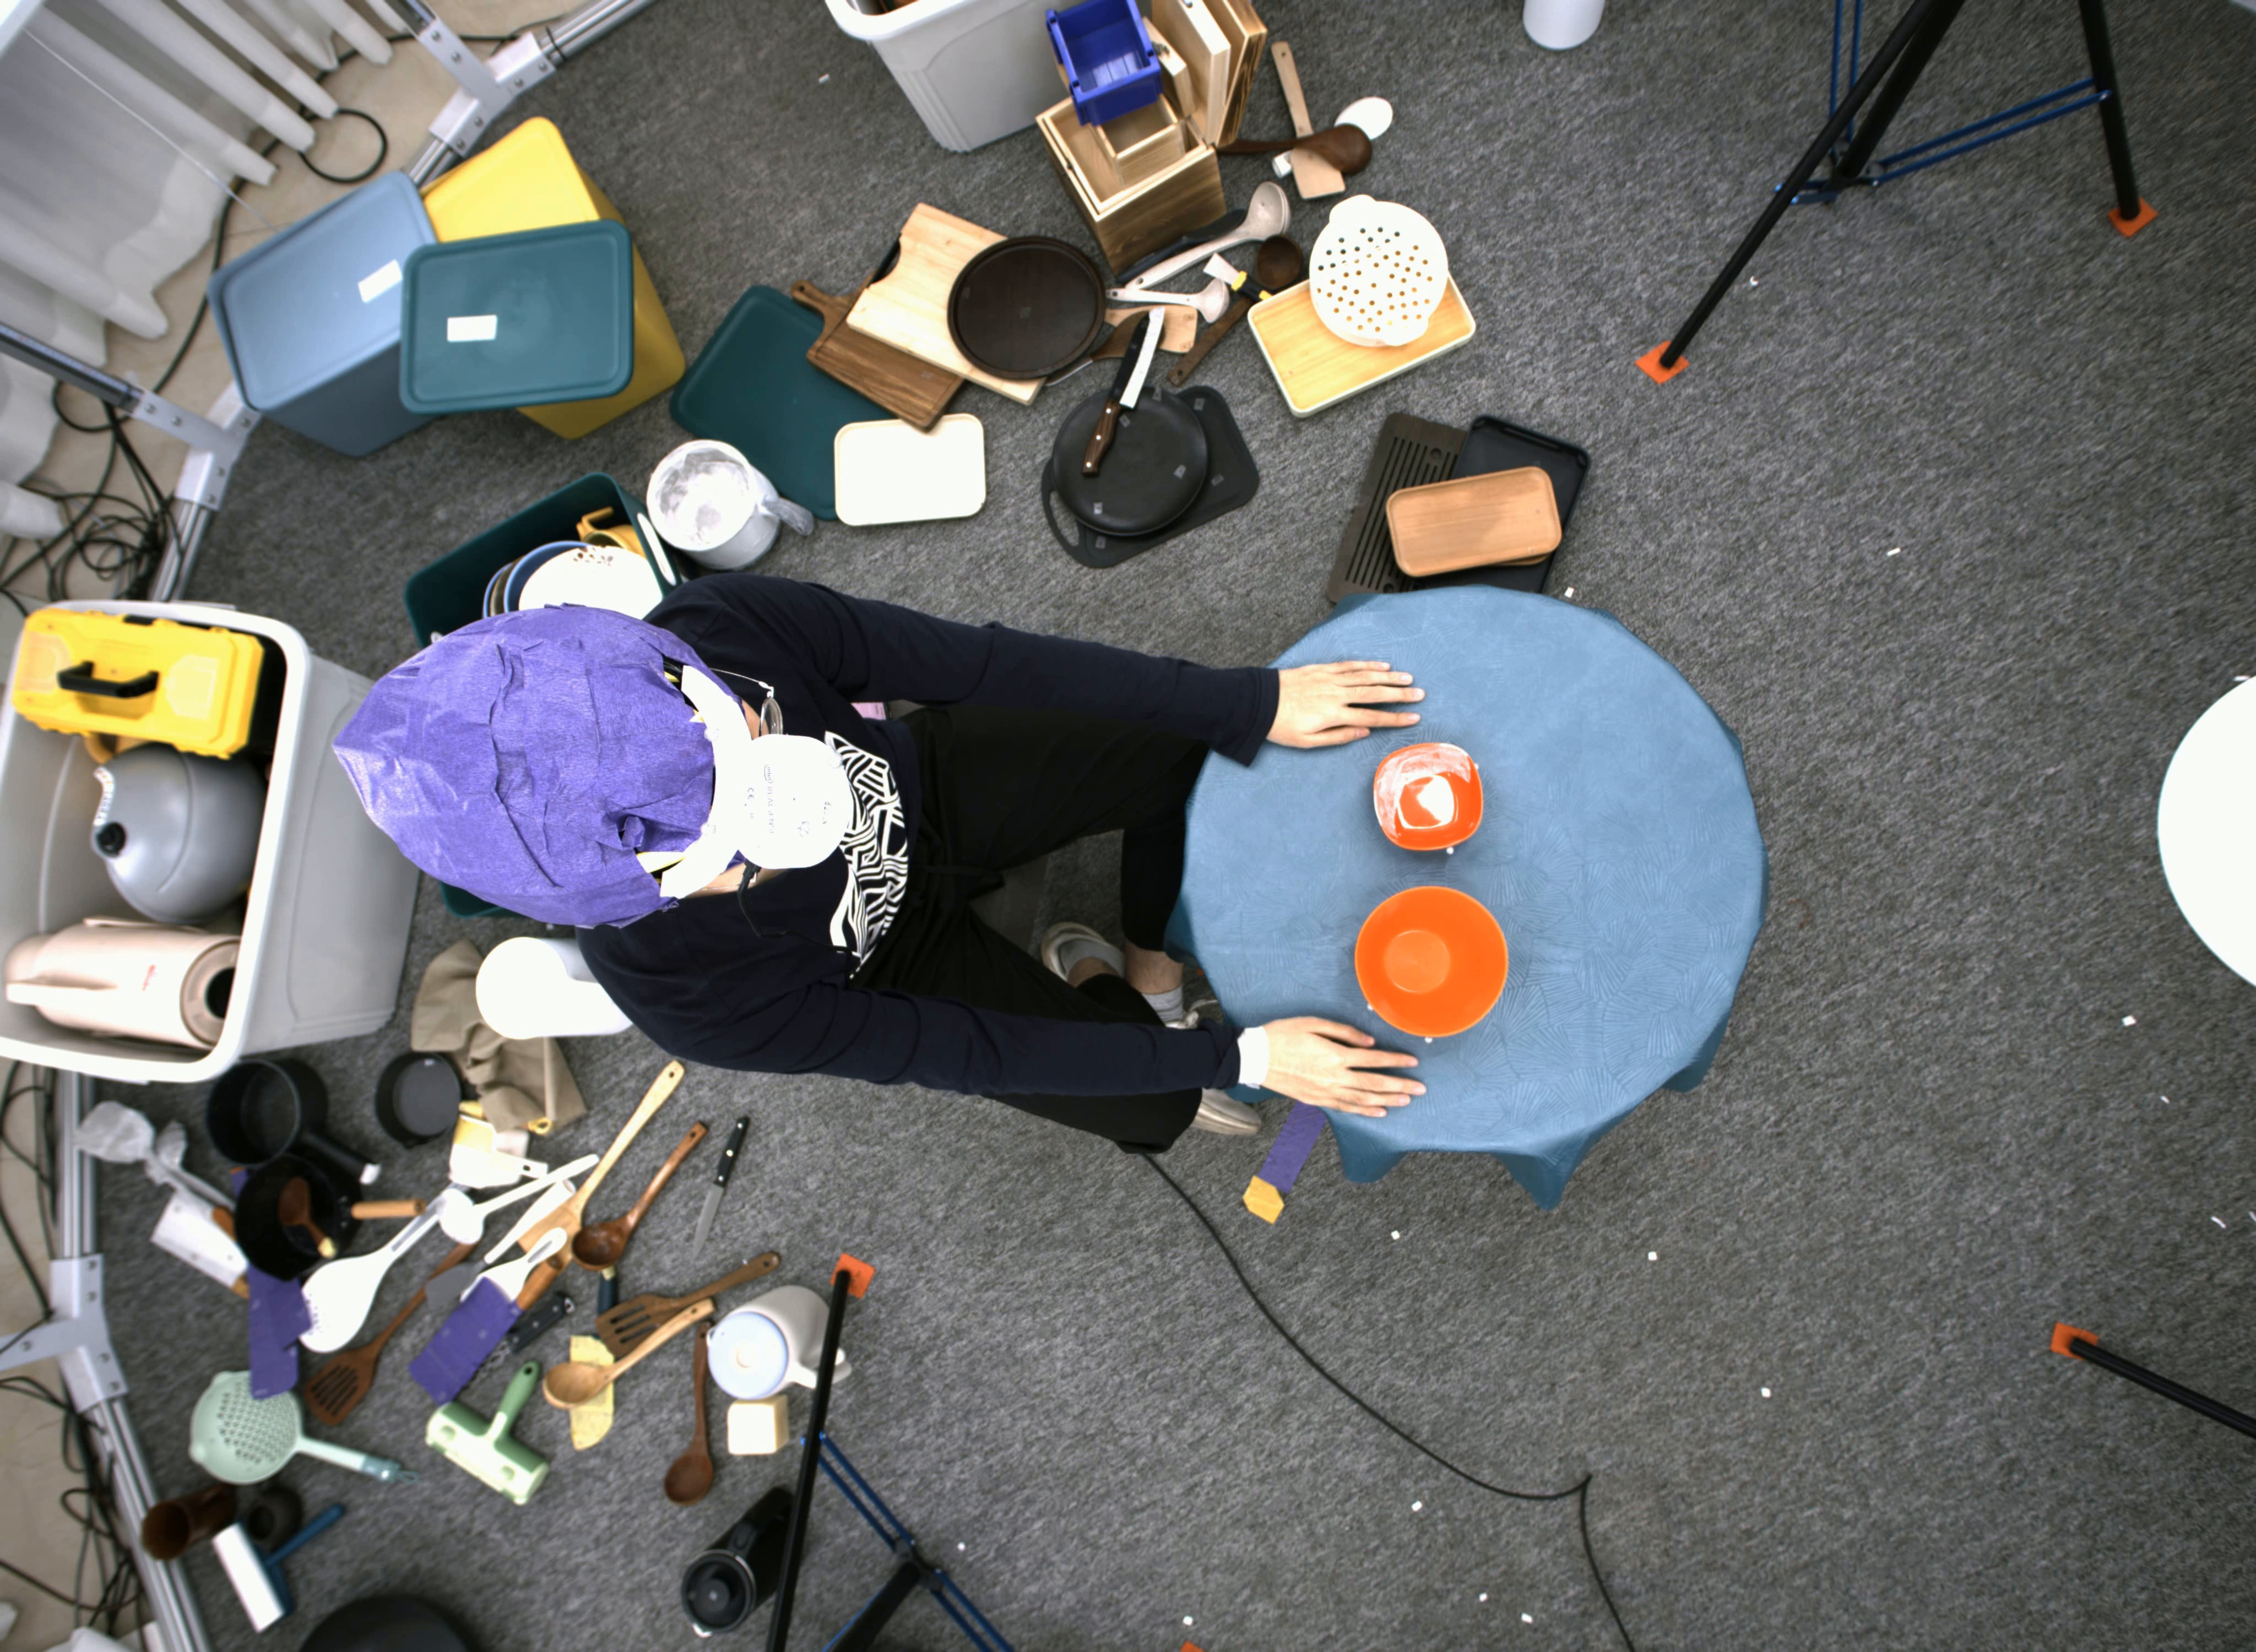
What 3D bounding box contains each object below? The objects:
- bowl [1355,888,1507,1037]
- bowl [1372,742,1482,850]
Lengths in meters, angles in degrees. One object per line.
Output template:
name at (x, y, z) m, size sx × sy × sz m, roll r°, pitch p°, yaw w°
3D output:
bowl at (0.306, 0.137, 1.401) m, size 0.149 × 0.105 × 0.147 m, roll -1°, pitch 85°, yaw 13°
bowl at (0.311, -0.030, 1.433) m, size 0.119 × 0.051 × 0.118 m, roll -1°, pitch 88°, yaw 12°
